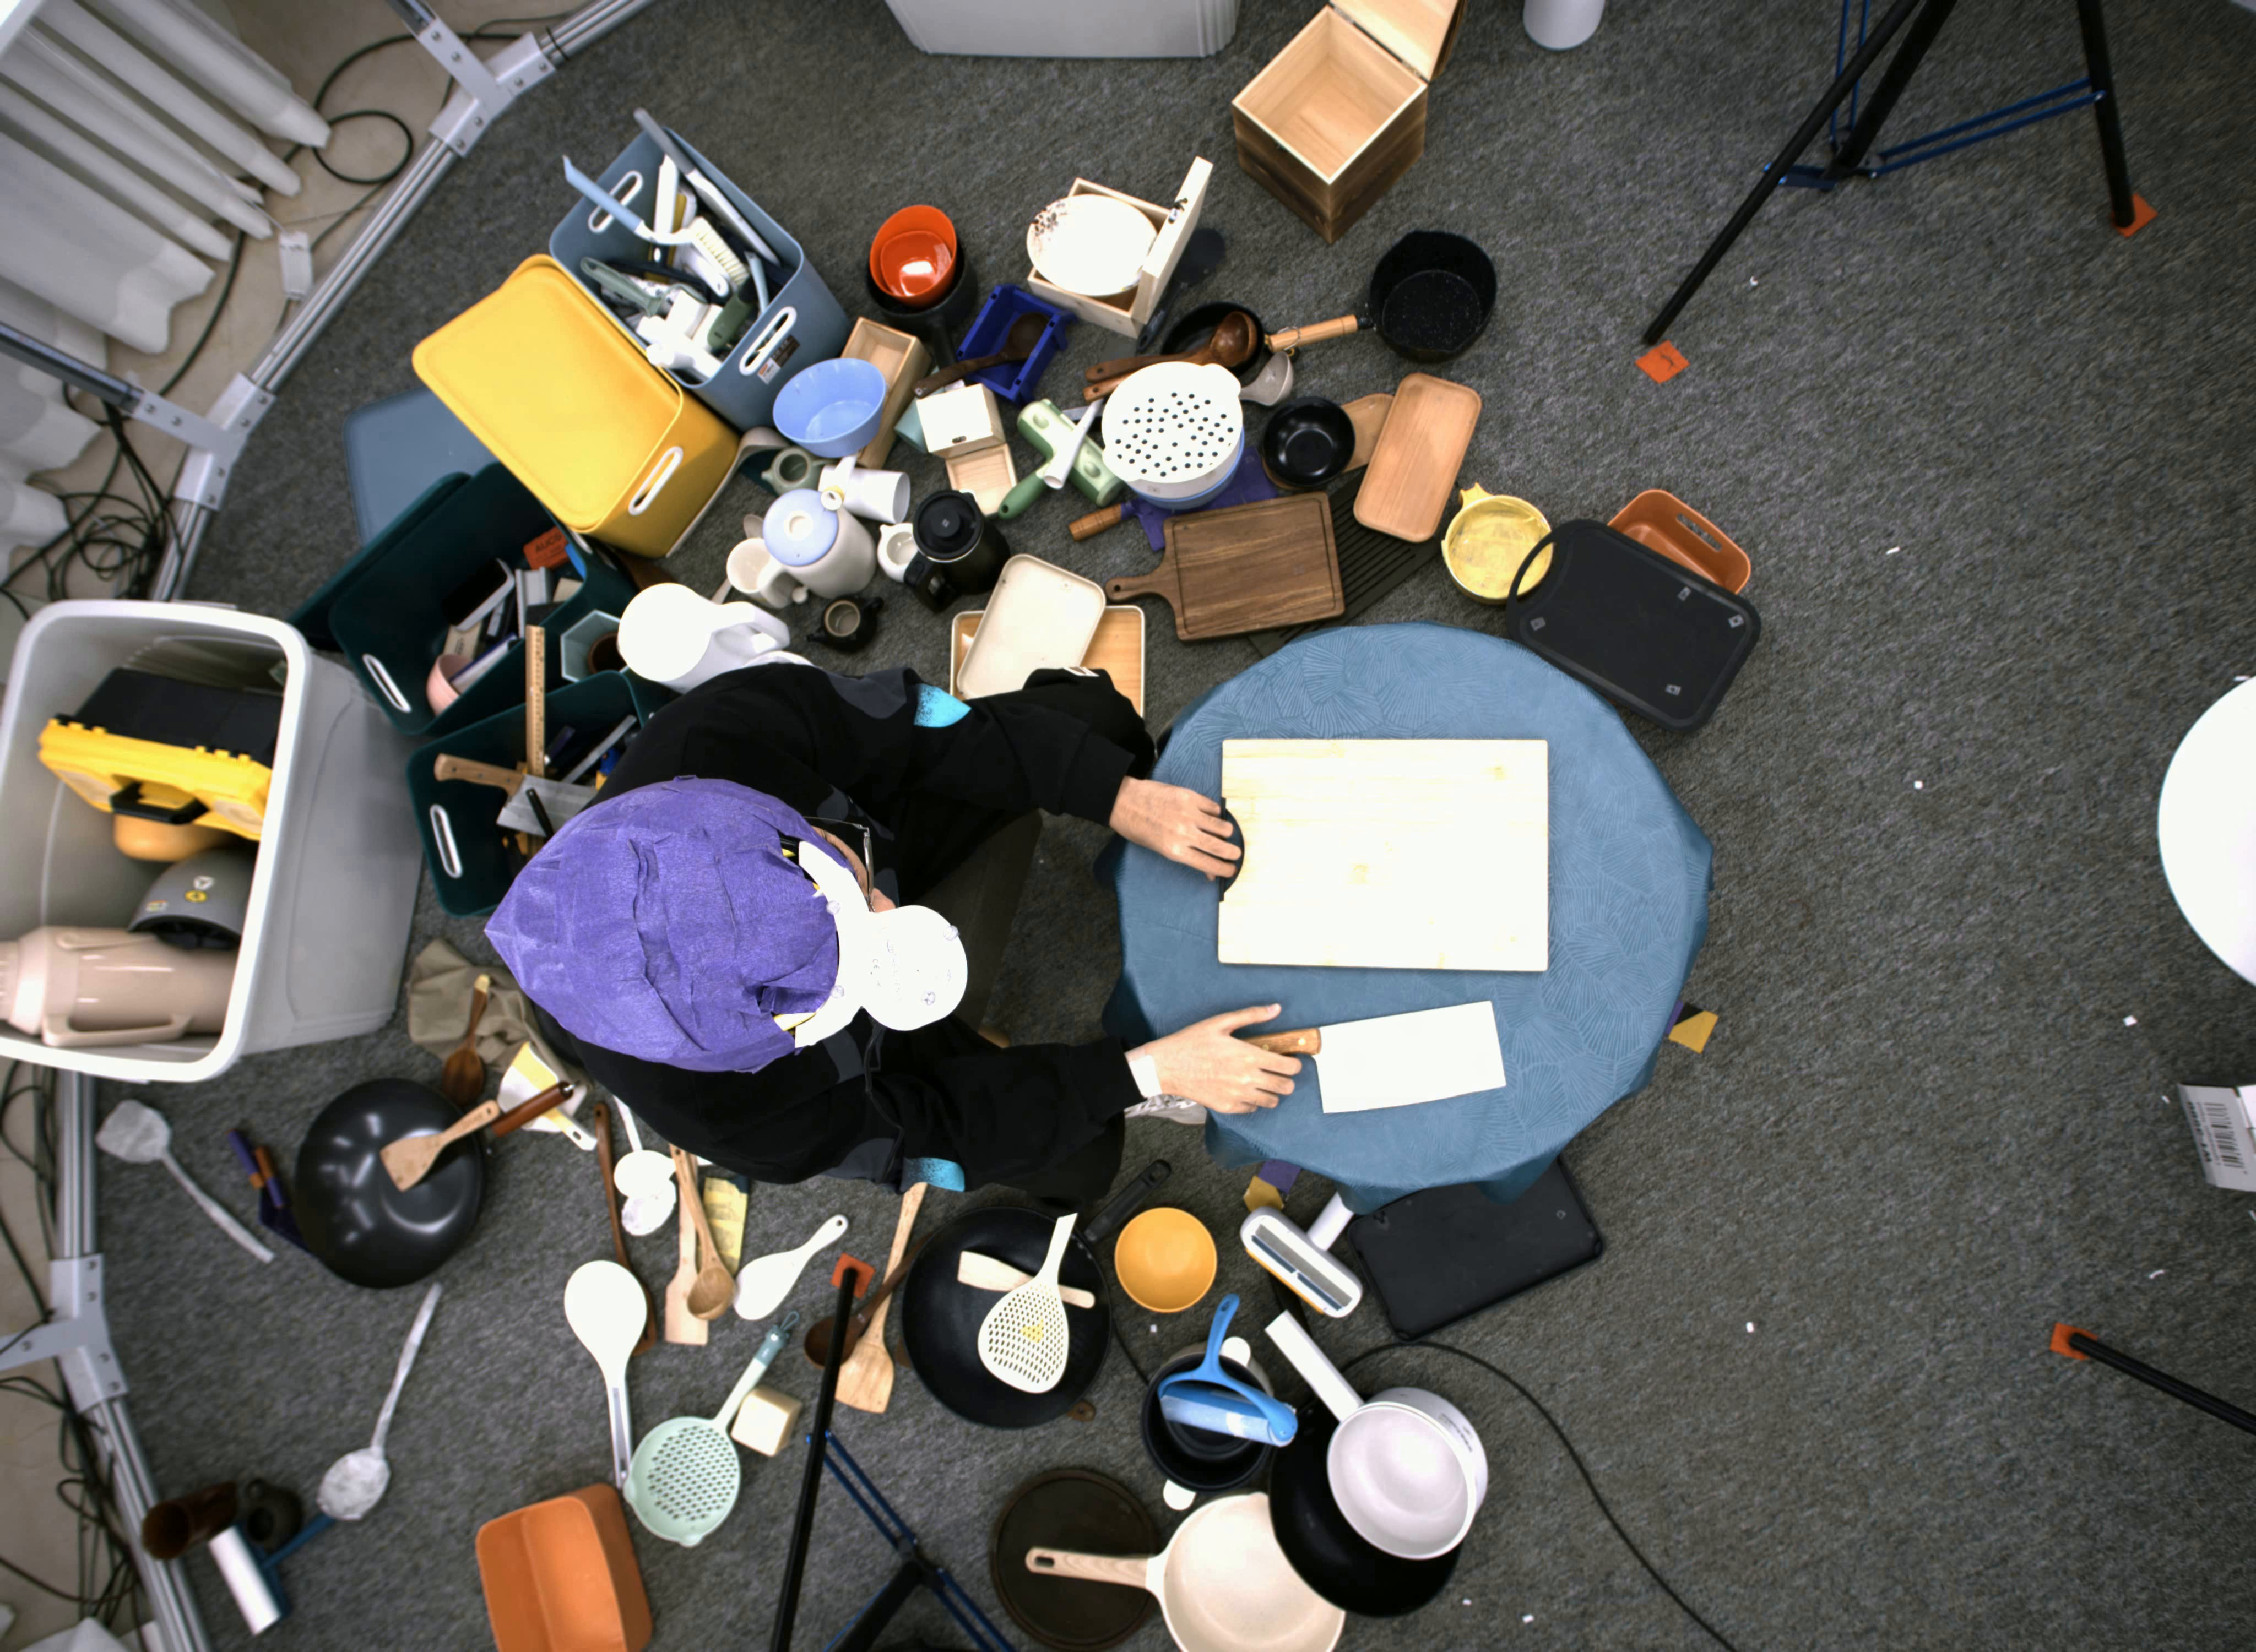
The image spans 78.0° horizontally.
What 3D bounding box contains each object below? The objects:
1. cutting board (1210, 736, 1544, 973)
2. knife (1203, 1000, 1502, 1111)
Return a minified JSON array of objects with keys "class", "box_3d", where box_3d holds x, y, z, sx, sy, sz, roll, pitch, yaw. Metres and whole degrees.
[{"class":"cutting board","box_3d":[0.261,0.026,1.456,0.350,0.023,0.249,0,87,10]},{"class":"knife","box_3d":[0.235,0.247,1.449,0.307,0.021,0.092,-10,87,8]}]
